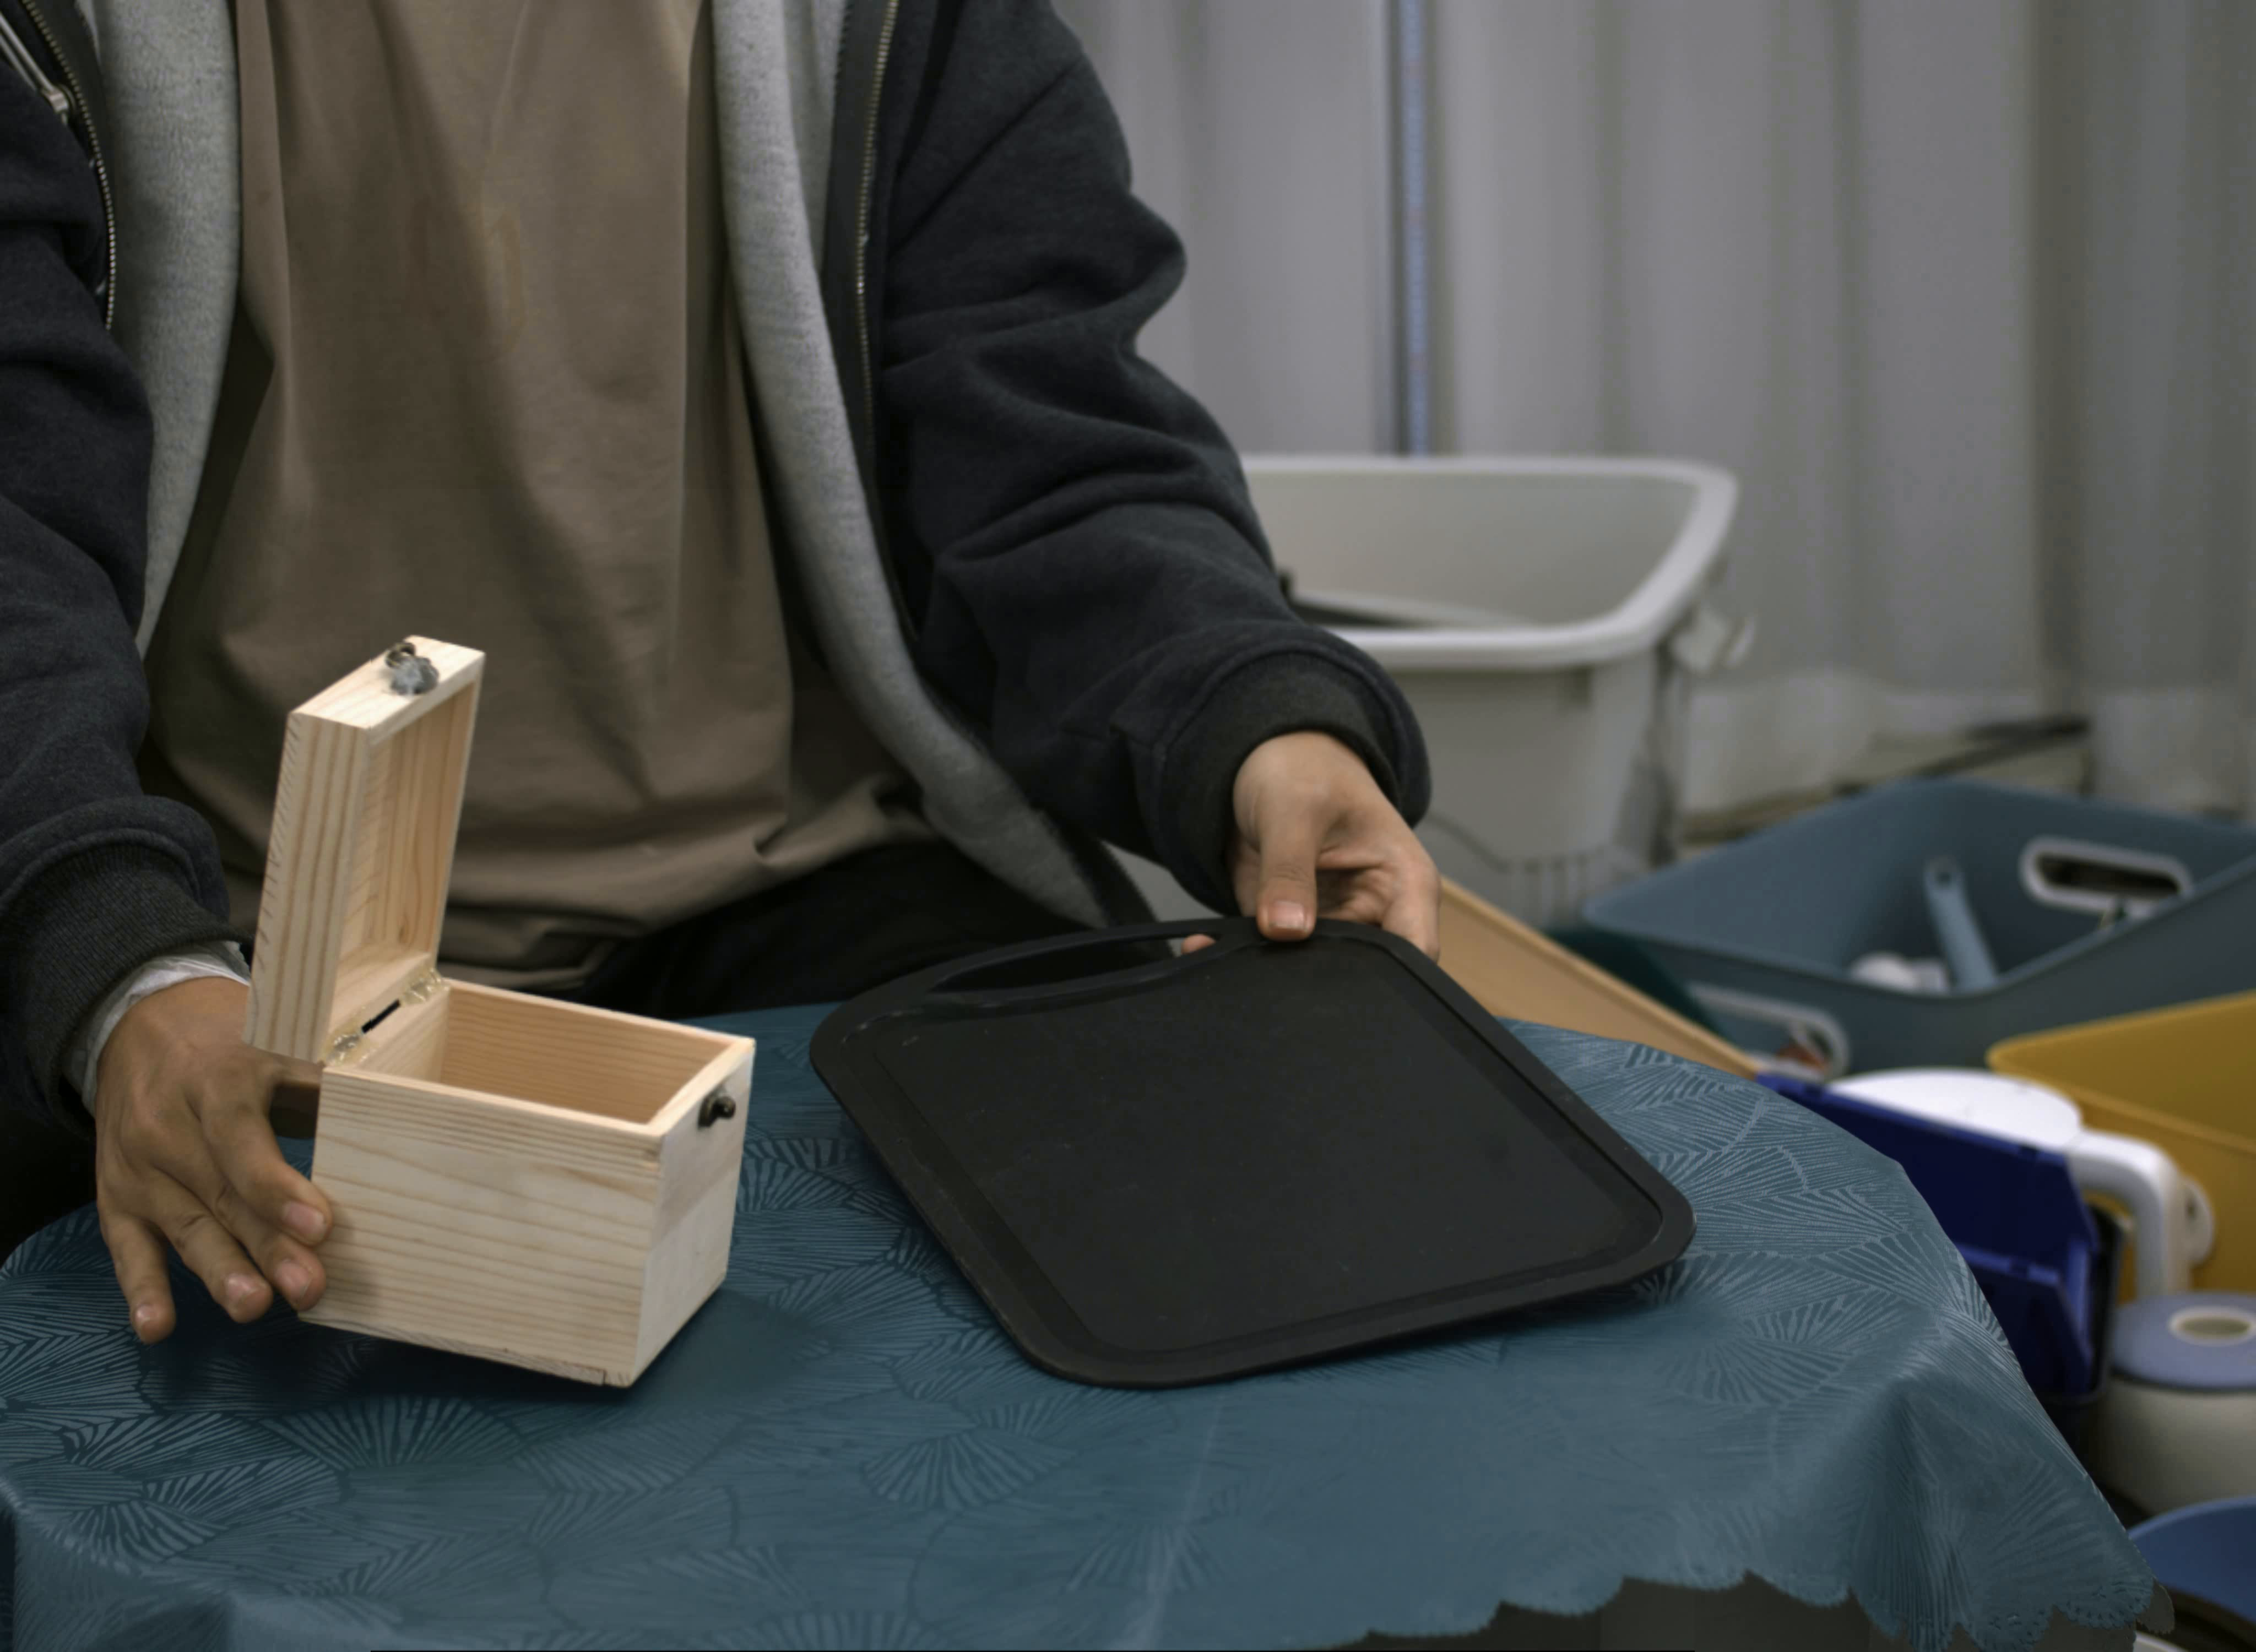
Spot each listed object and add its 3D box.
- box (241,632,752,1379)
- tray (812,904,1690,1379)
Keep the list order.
[{"bbox_3d":[-0.177,0.049,1.586,0.134,0.184,0.103,9,14,9],"label":"box"},{"bbox_3d":[0.028,0.089,1.707,0.210,0.010,0.329,-11,23,-15],"label":"tray"}]
